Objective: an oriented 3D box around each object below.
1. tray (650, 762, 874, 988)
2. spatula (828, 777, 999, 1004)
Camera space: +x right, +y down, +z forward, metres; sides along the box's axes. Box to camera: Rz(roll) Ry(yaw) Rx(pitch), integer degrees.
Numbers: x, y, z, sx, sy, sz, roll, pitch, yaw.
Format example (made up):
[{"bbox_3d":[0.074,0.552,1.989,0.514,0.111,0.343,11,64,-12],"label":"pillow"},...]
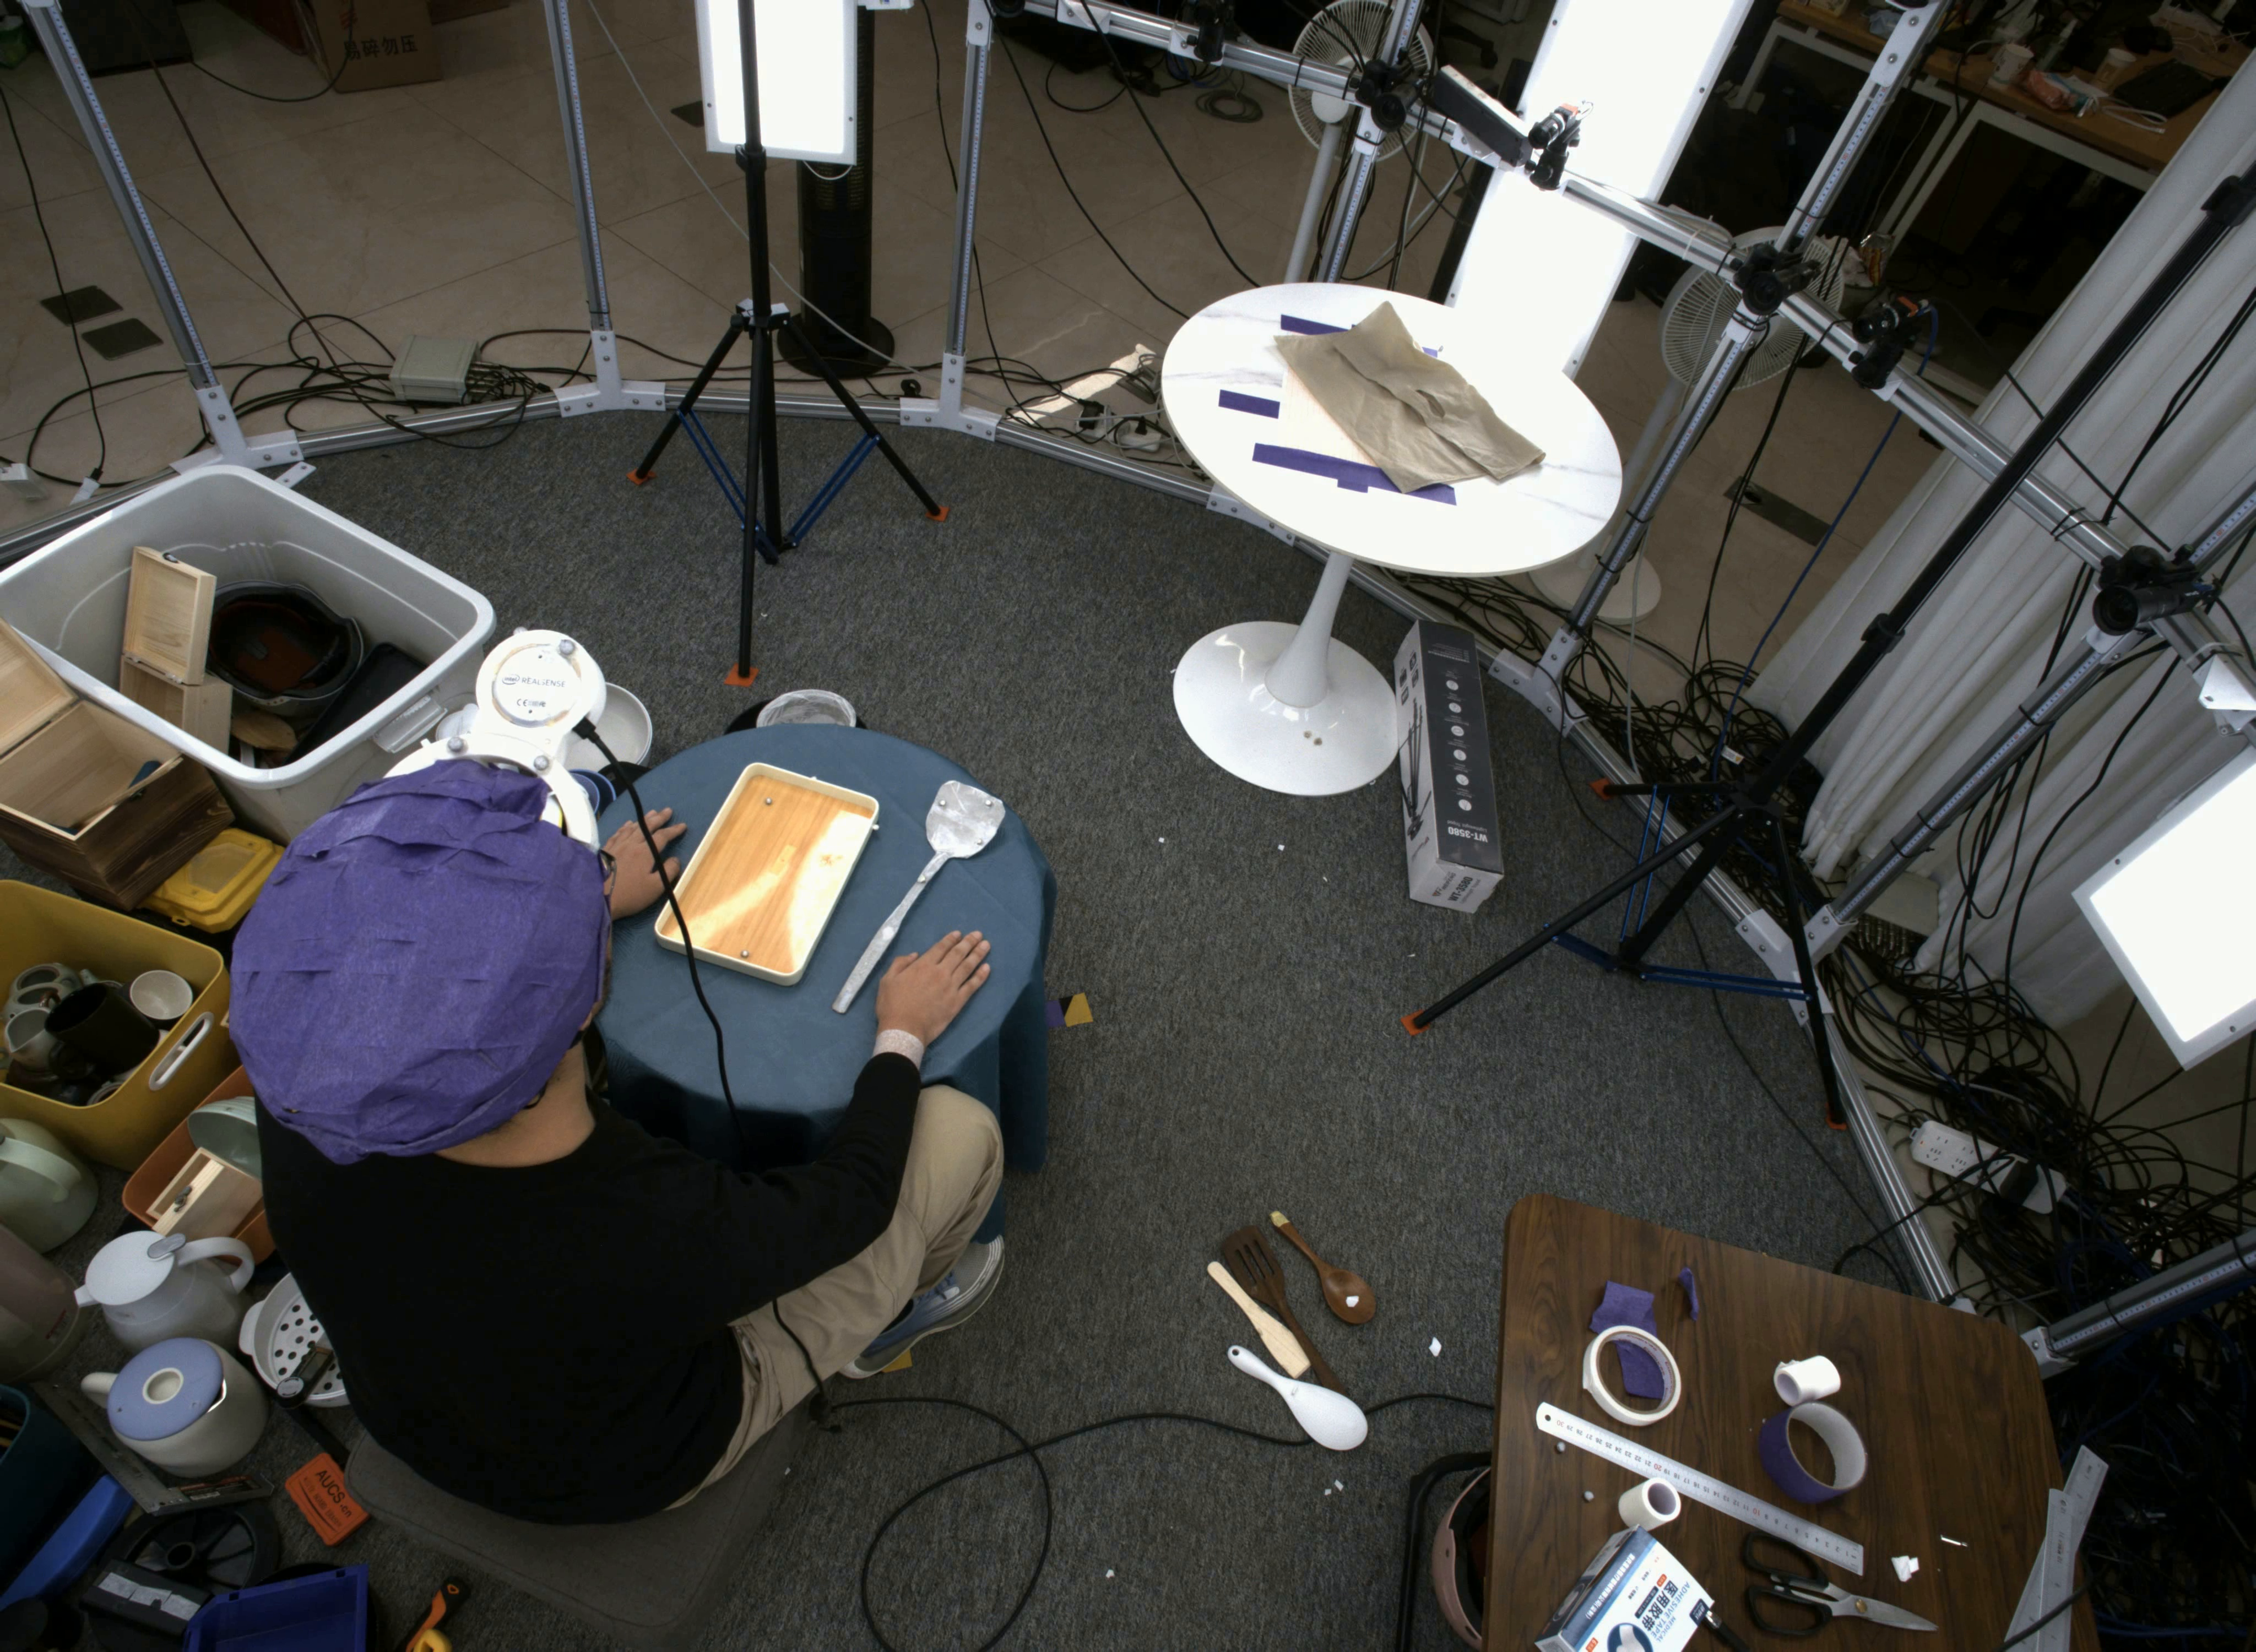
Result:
[{"bbox_3d":[-0.461,0.055,1.651,0.190,0.028,0.297,18,52,-1],"label":"tray"},{"bbox_3d":[-0.283,0.081,1.671,0.097,0.045,0.362,25,52,5],"label":"spatula"}]
